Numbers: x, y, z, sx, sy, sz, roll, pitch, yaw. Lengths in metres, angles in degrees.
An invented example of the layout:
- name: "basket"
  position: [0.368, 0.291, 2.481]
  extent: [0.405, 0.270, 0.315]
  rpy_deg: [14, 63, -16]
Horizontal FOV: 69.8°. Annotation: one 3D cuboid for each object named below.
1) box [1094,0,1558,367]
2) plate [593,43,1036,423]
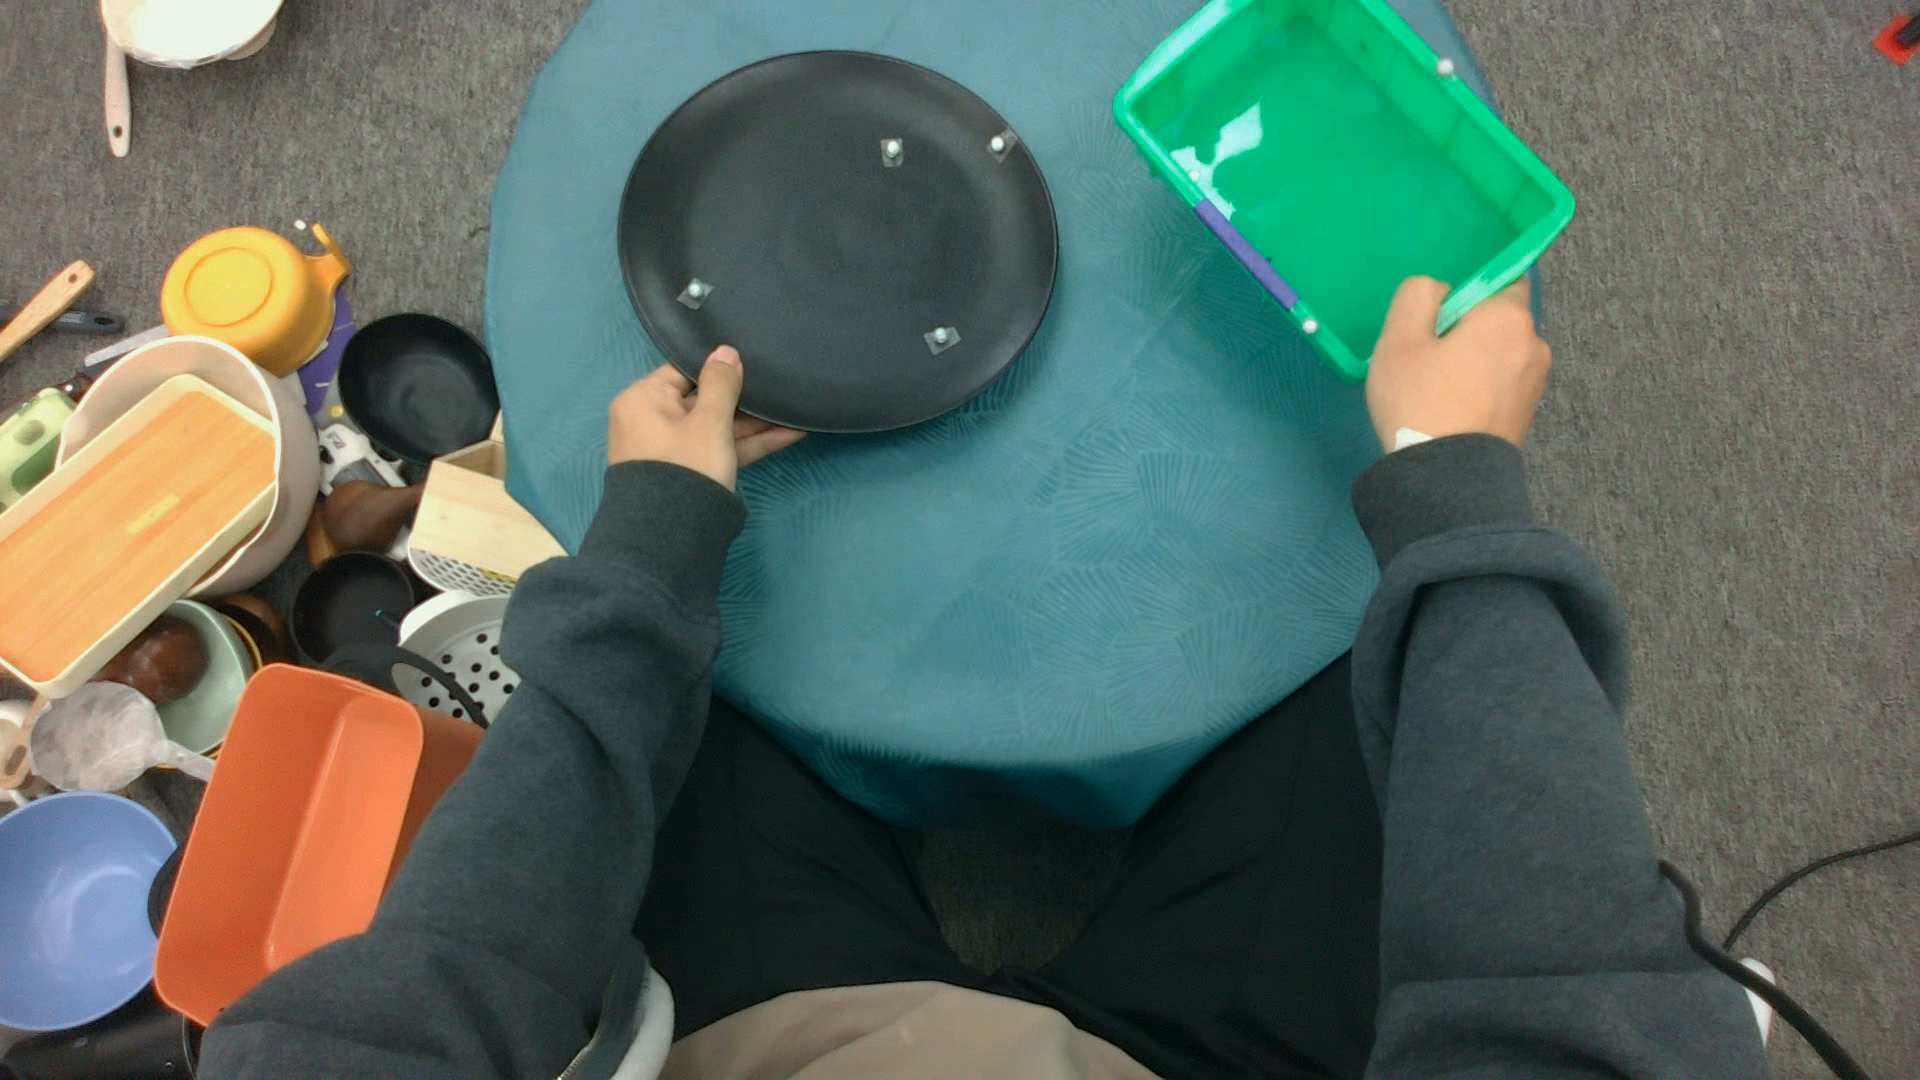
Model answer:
- name: "box"
  position: [0.184, -0.198, 0.713]
  extent: [0.138, 0.065, 0.210]
  rpy_deg: [-42, 81, 6]
- name: "plate"
  position: [-0.079, -0.172, 0.770]
  extent: [0.244, 0.023, 0.245]
  rpy_deg: [2, 70, -6]
